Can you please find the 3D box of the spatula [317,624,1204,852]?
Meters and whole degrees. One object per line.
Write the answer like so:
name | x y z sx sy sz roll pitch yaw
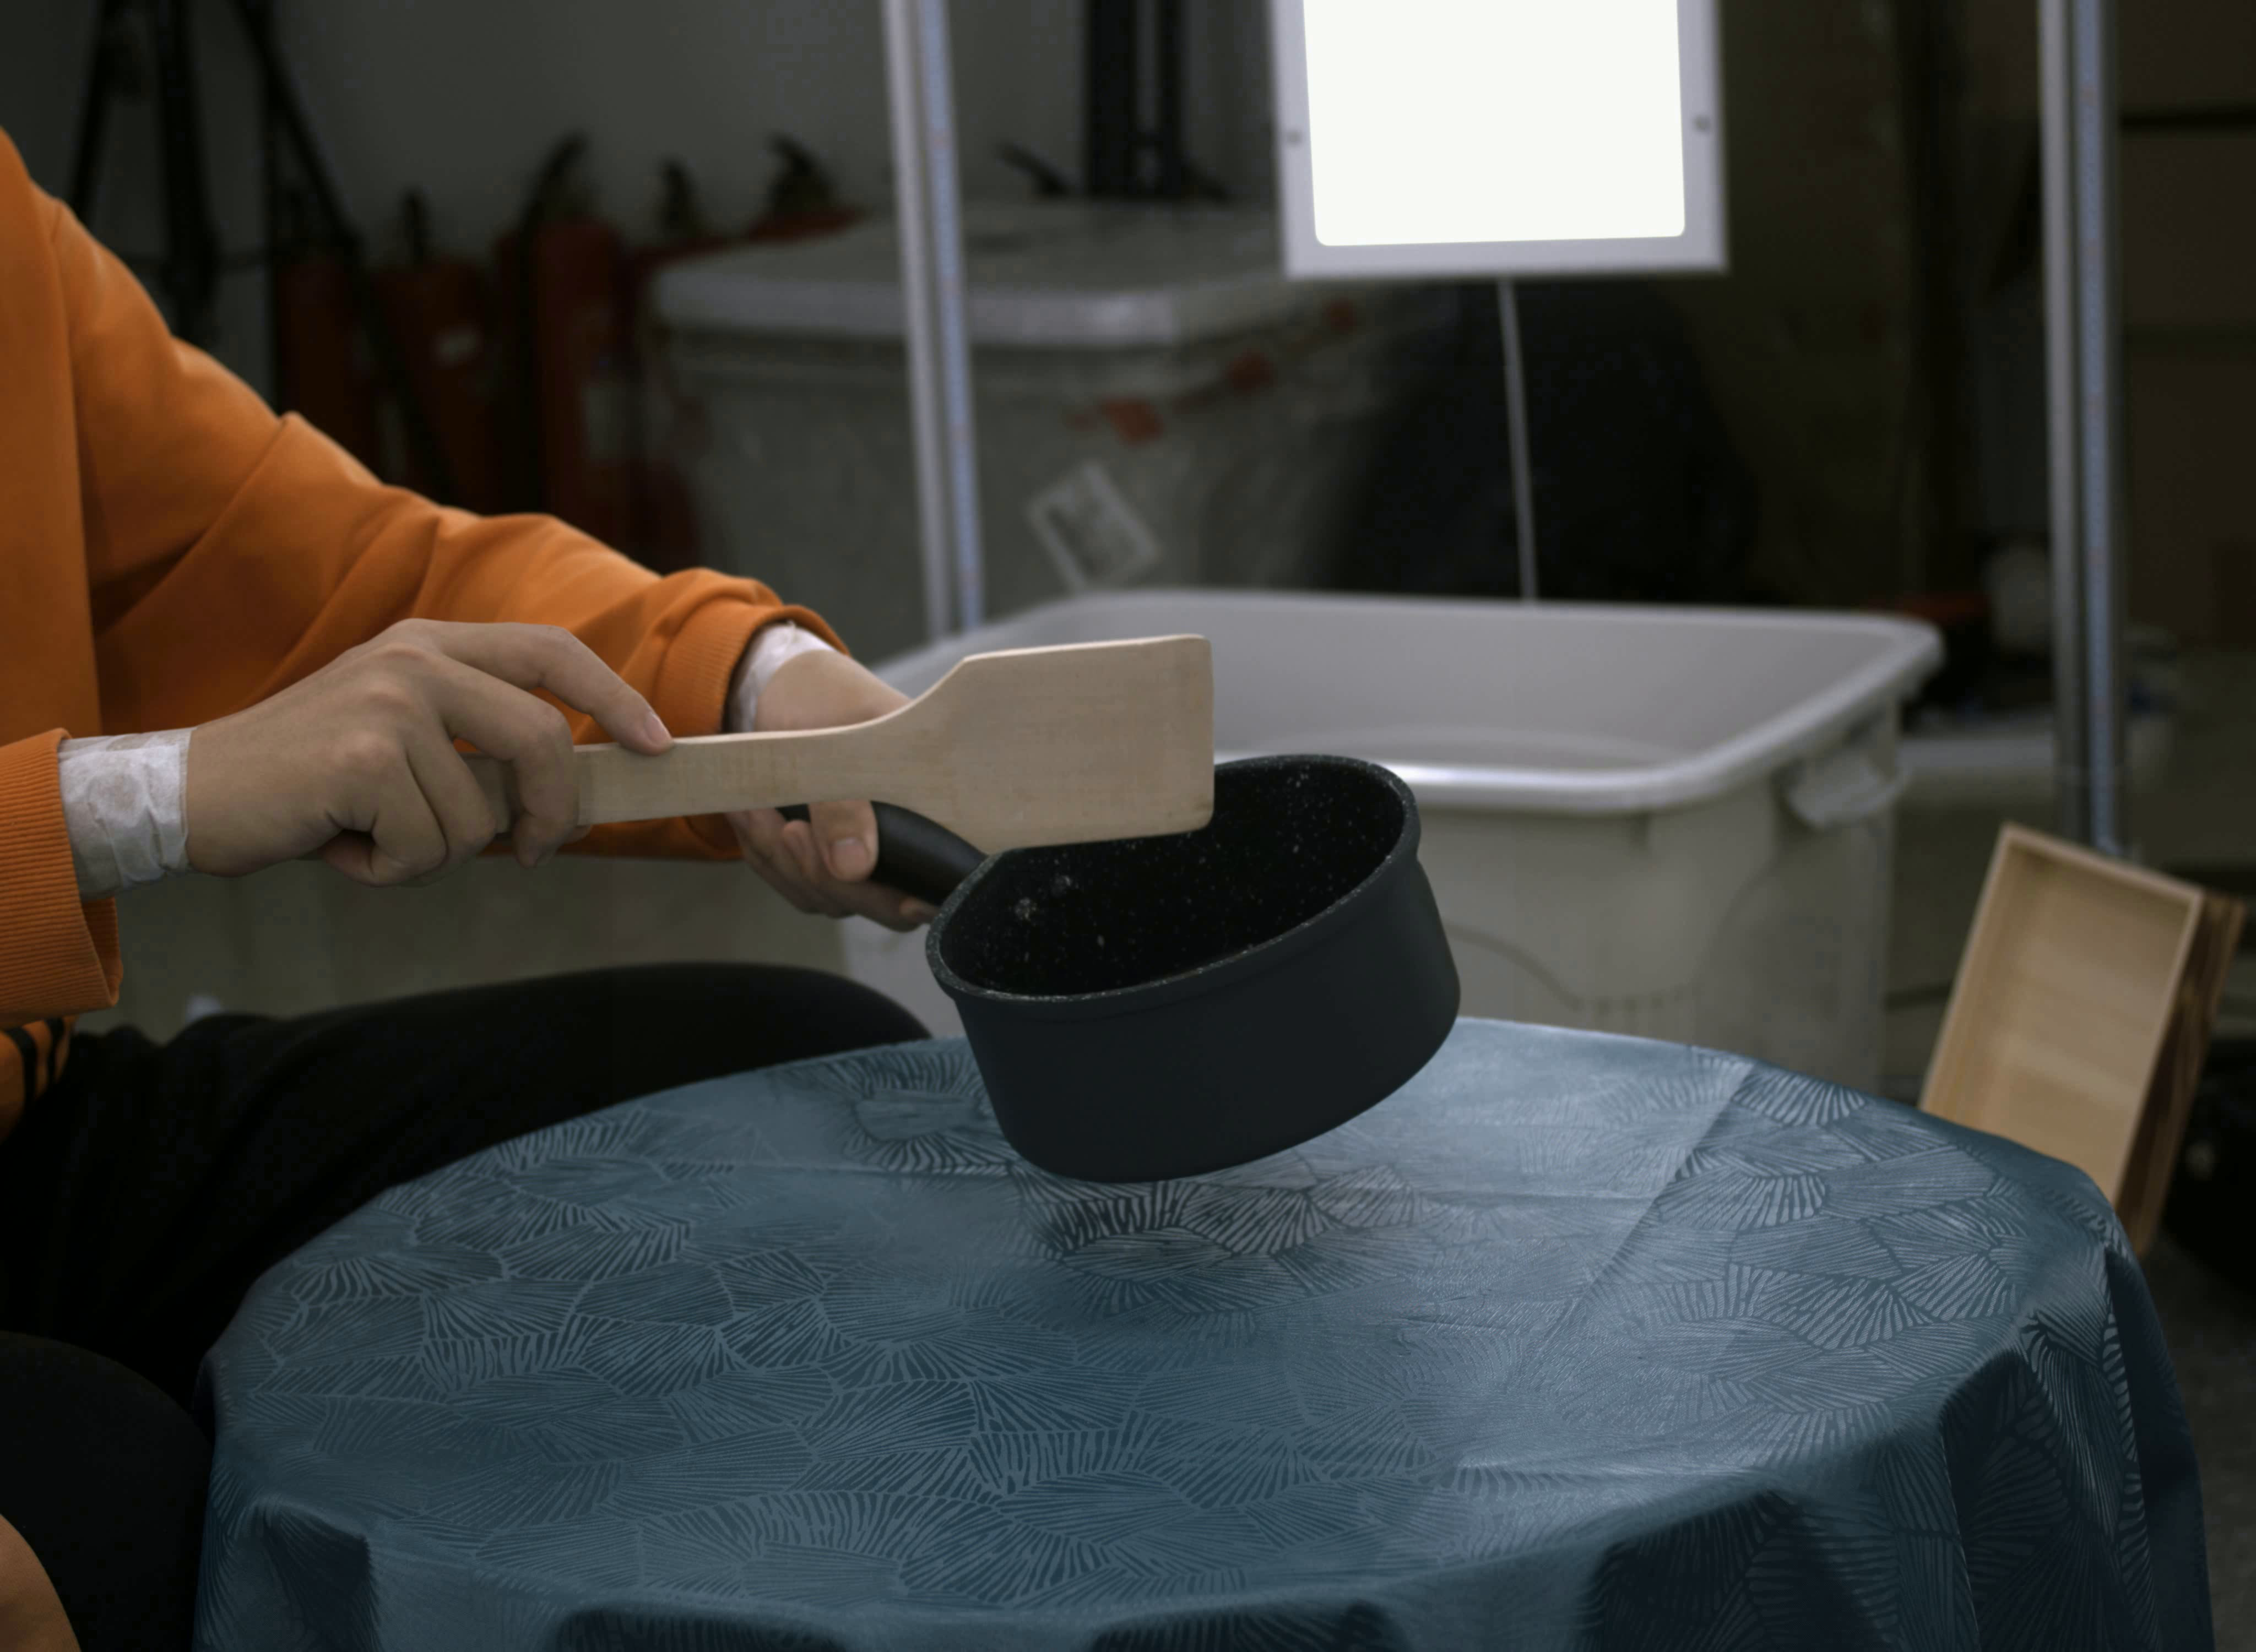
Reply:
spatula | -0.118 -0.020 1.795 0.290 0.072 0.011 -6 26 -7

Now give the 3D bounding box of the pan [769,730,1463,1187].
pan | -0.022 0.034 1.904 0.168 0.086 0.335 -30 25 -27
